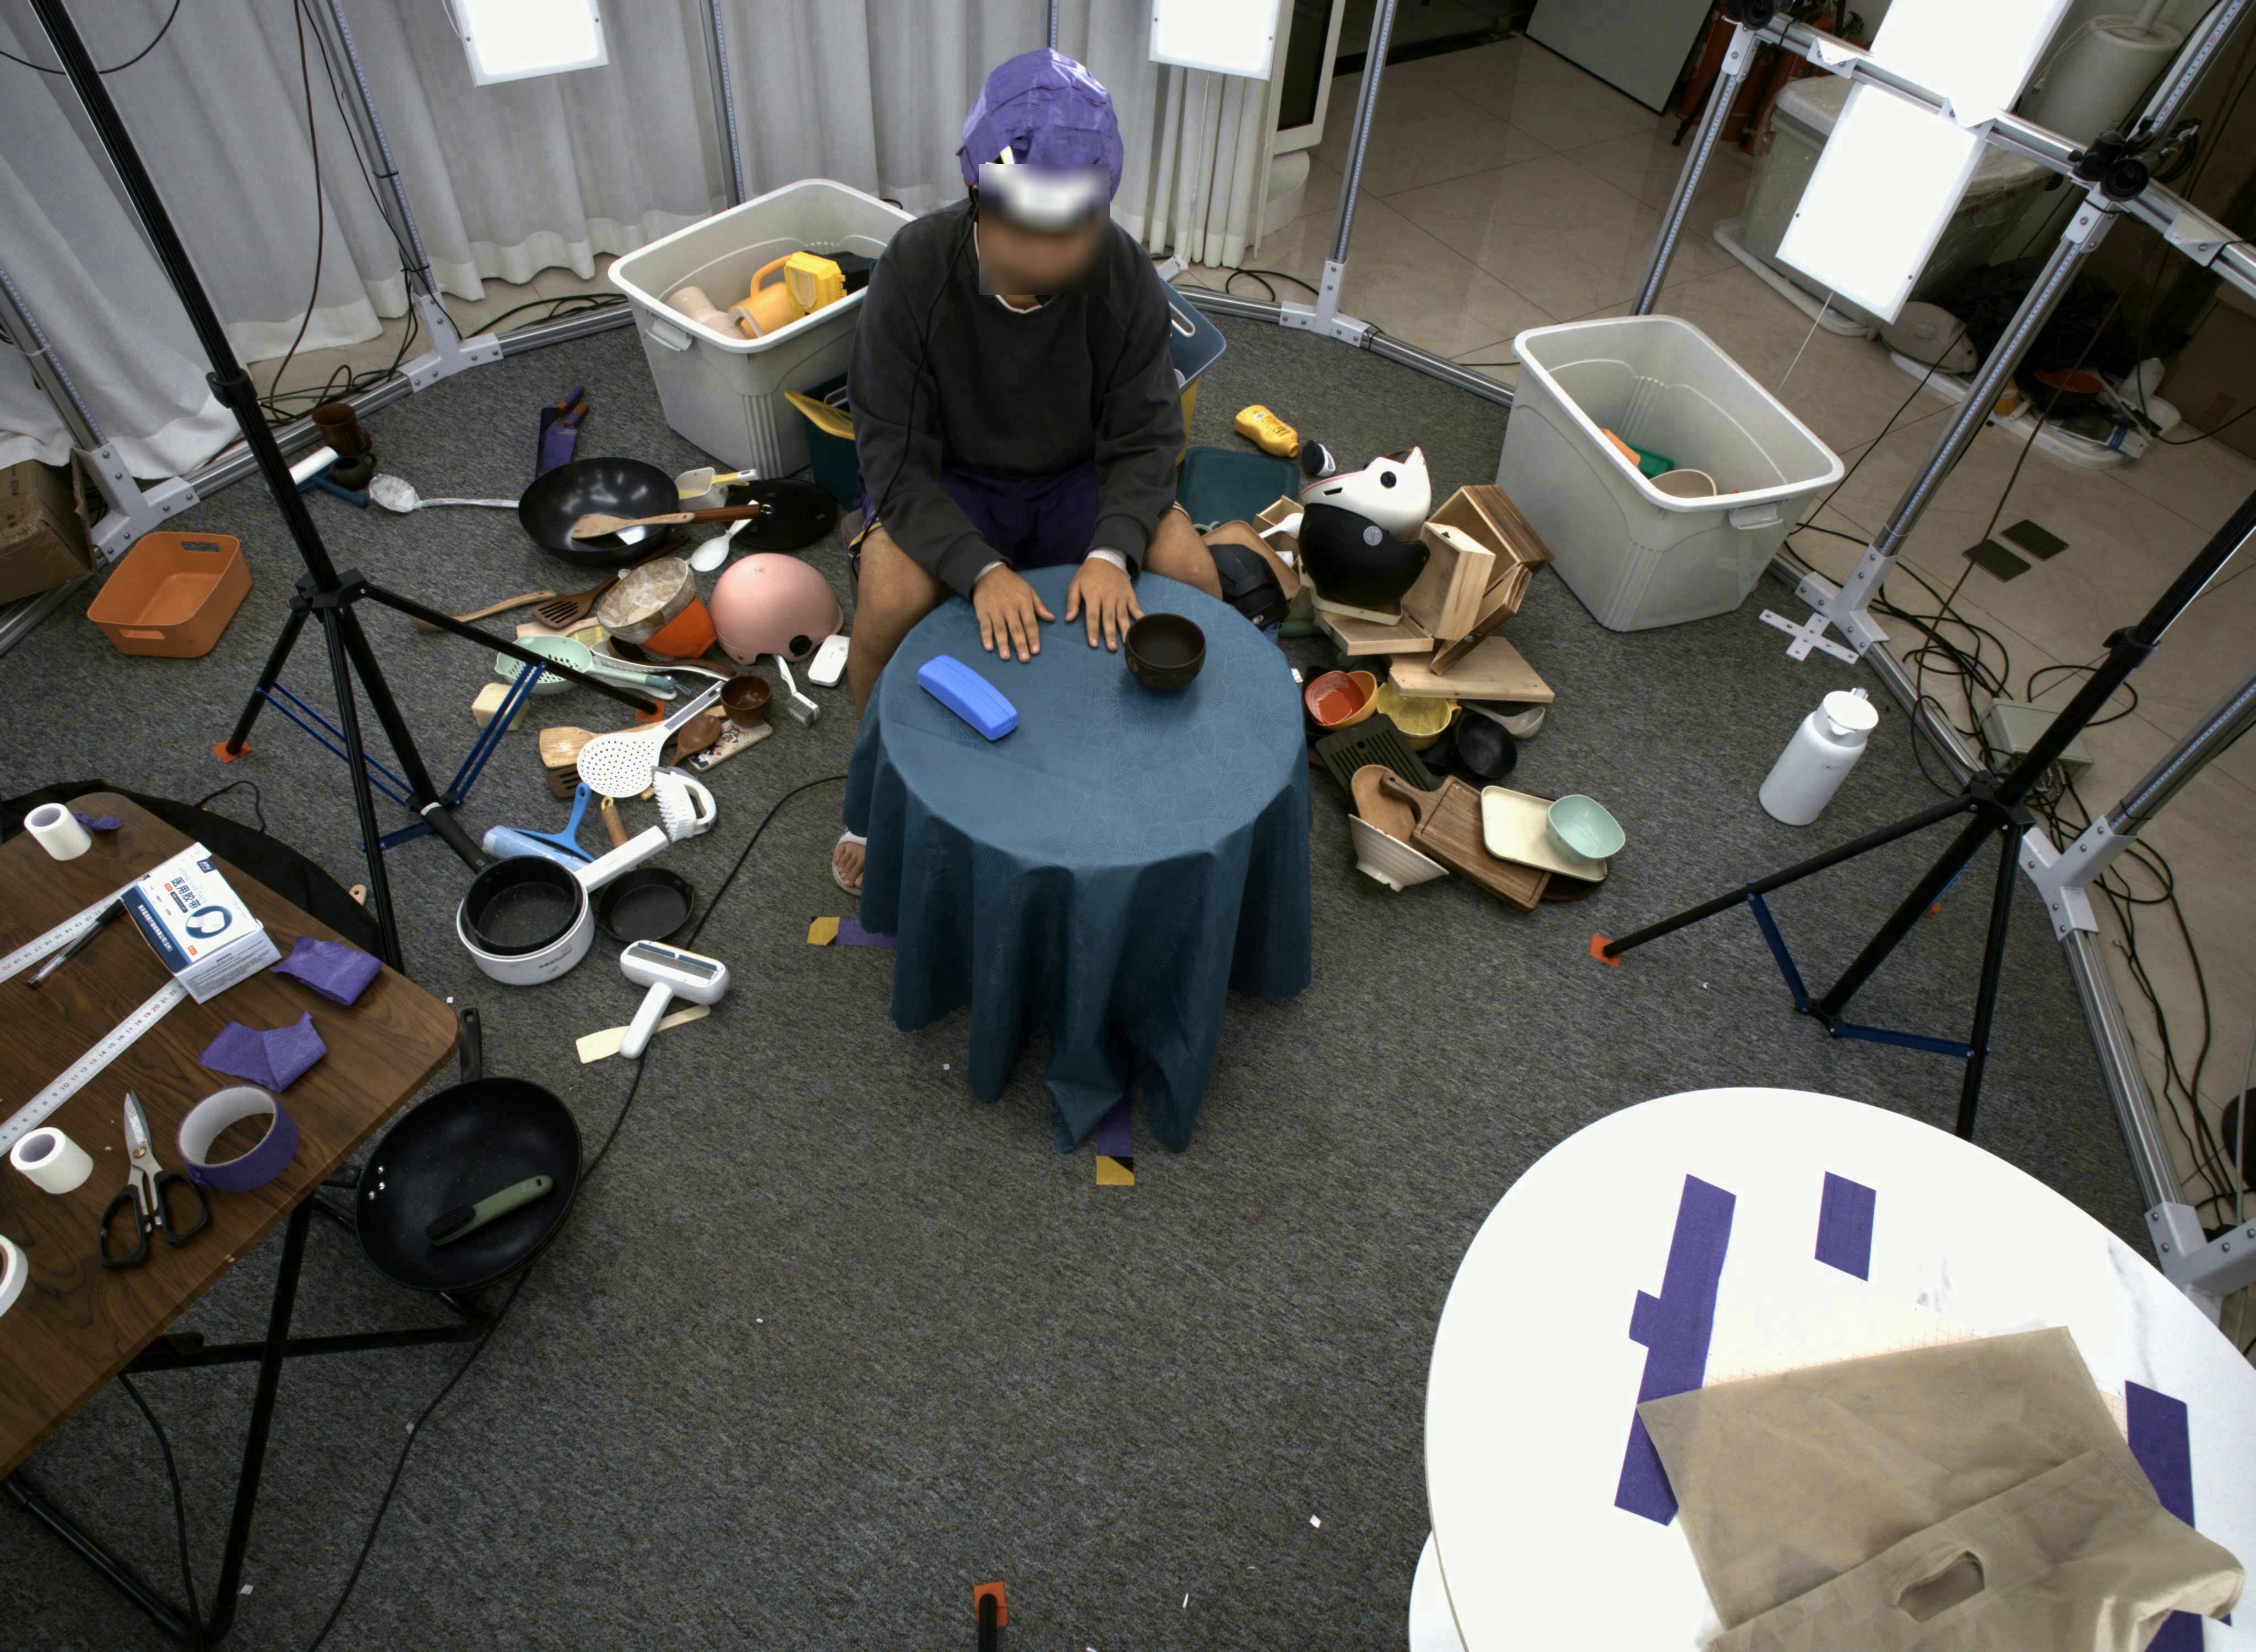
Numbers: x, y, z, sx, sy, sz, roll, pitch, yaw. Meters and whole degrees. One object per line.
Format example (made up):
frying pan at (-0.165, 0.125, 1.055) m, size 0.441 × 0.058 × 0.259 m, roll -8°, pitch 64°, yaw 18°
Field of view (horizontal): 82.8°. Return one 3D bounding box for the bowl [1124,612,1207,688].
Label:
bowl at (0.053, -0.243, 1.833) m, size 0.118 × 0.068 × 0.121 m, roll 1°, pitch 48°, yaw -2°

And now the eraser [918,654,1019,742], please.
eraser at (-0.222, -0.182, 1.780) m, size 0.164 × 0.046 × 0.054 m, roll 38°, pitch 59°, yaw 25°
